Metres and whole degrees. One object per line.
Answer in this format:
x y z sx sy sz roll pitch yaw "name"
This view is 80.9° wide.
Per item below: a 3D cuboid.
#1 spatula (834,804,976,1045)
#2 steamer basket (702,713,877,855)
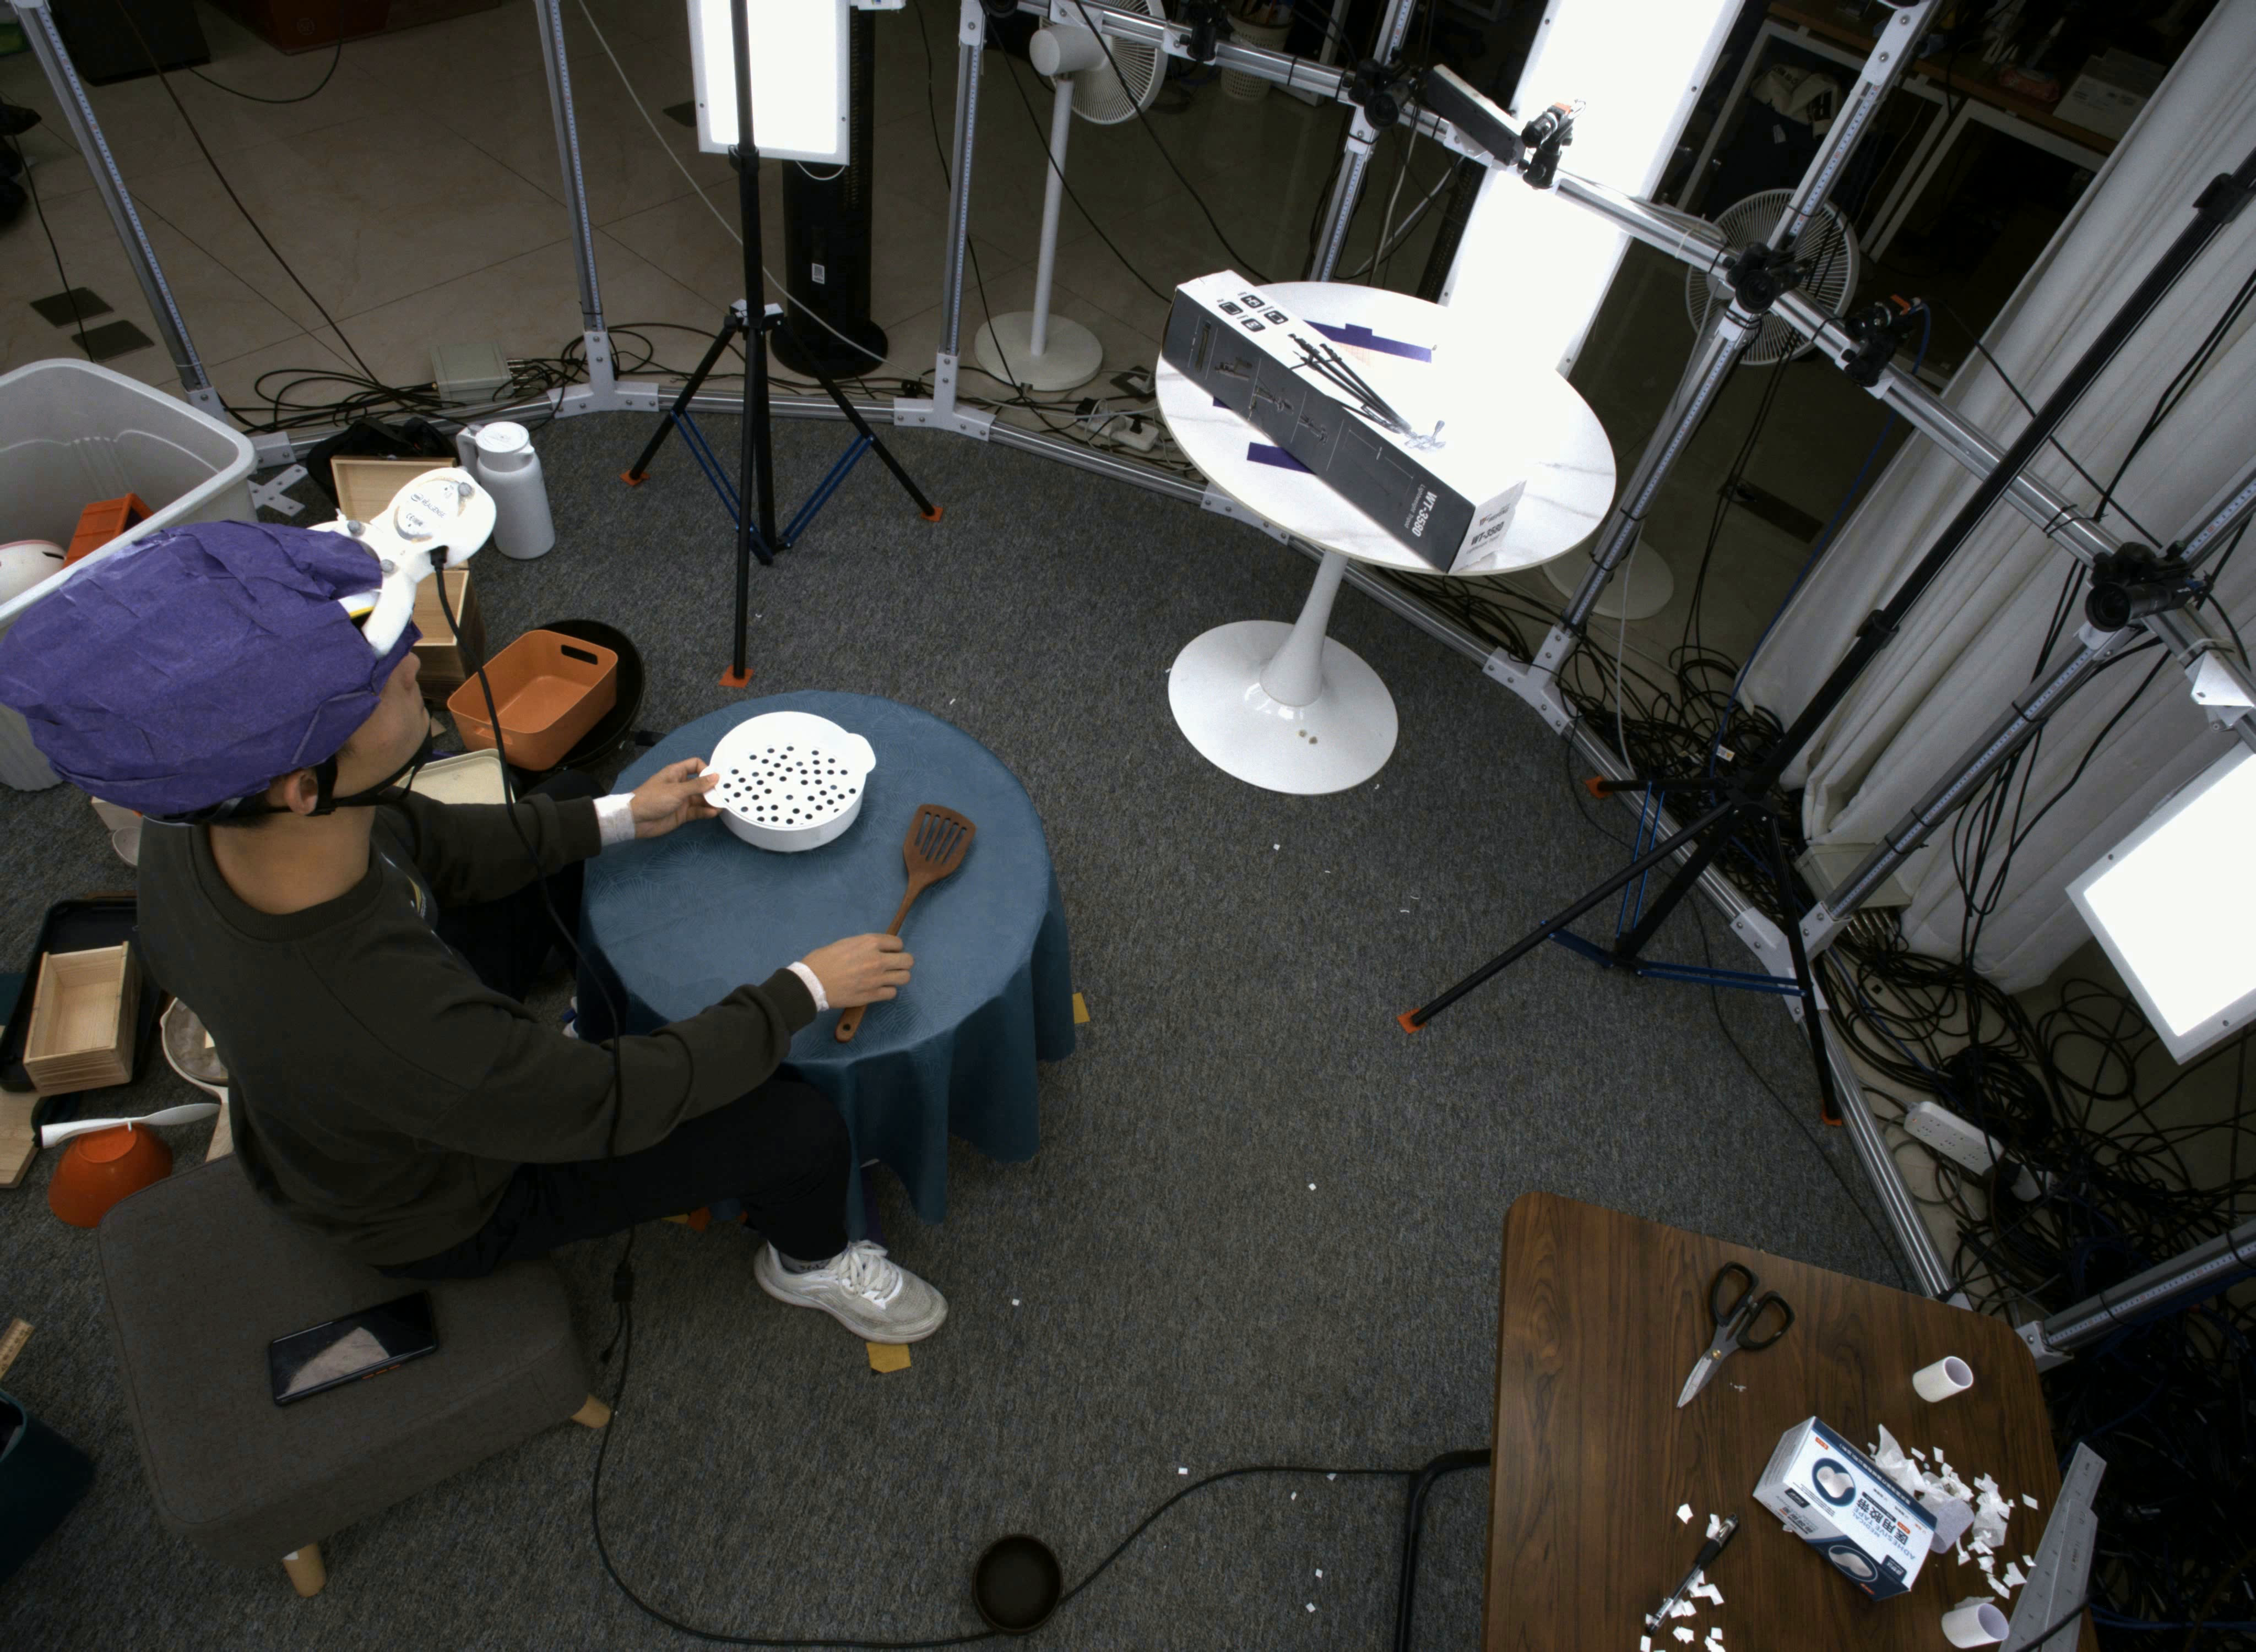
-0.288 0.117 1.638 0.086 0.024 0.380 25 47 -7 "spatula"
-0.448 -0.057 1.730 0.231 0.071 0.196 -18 58 -23 "steamer basket"
